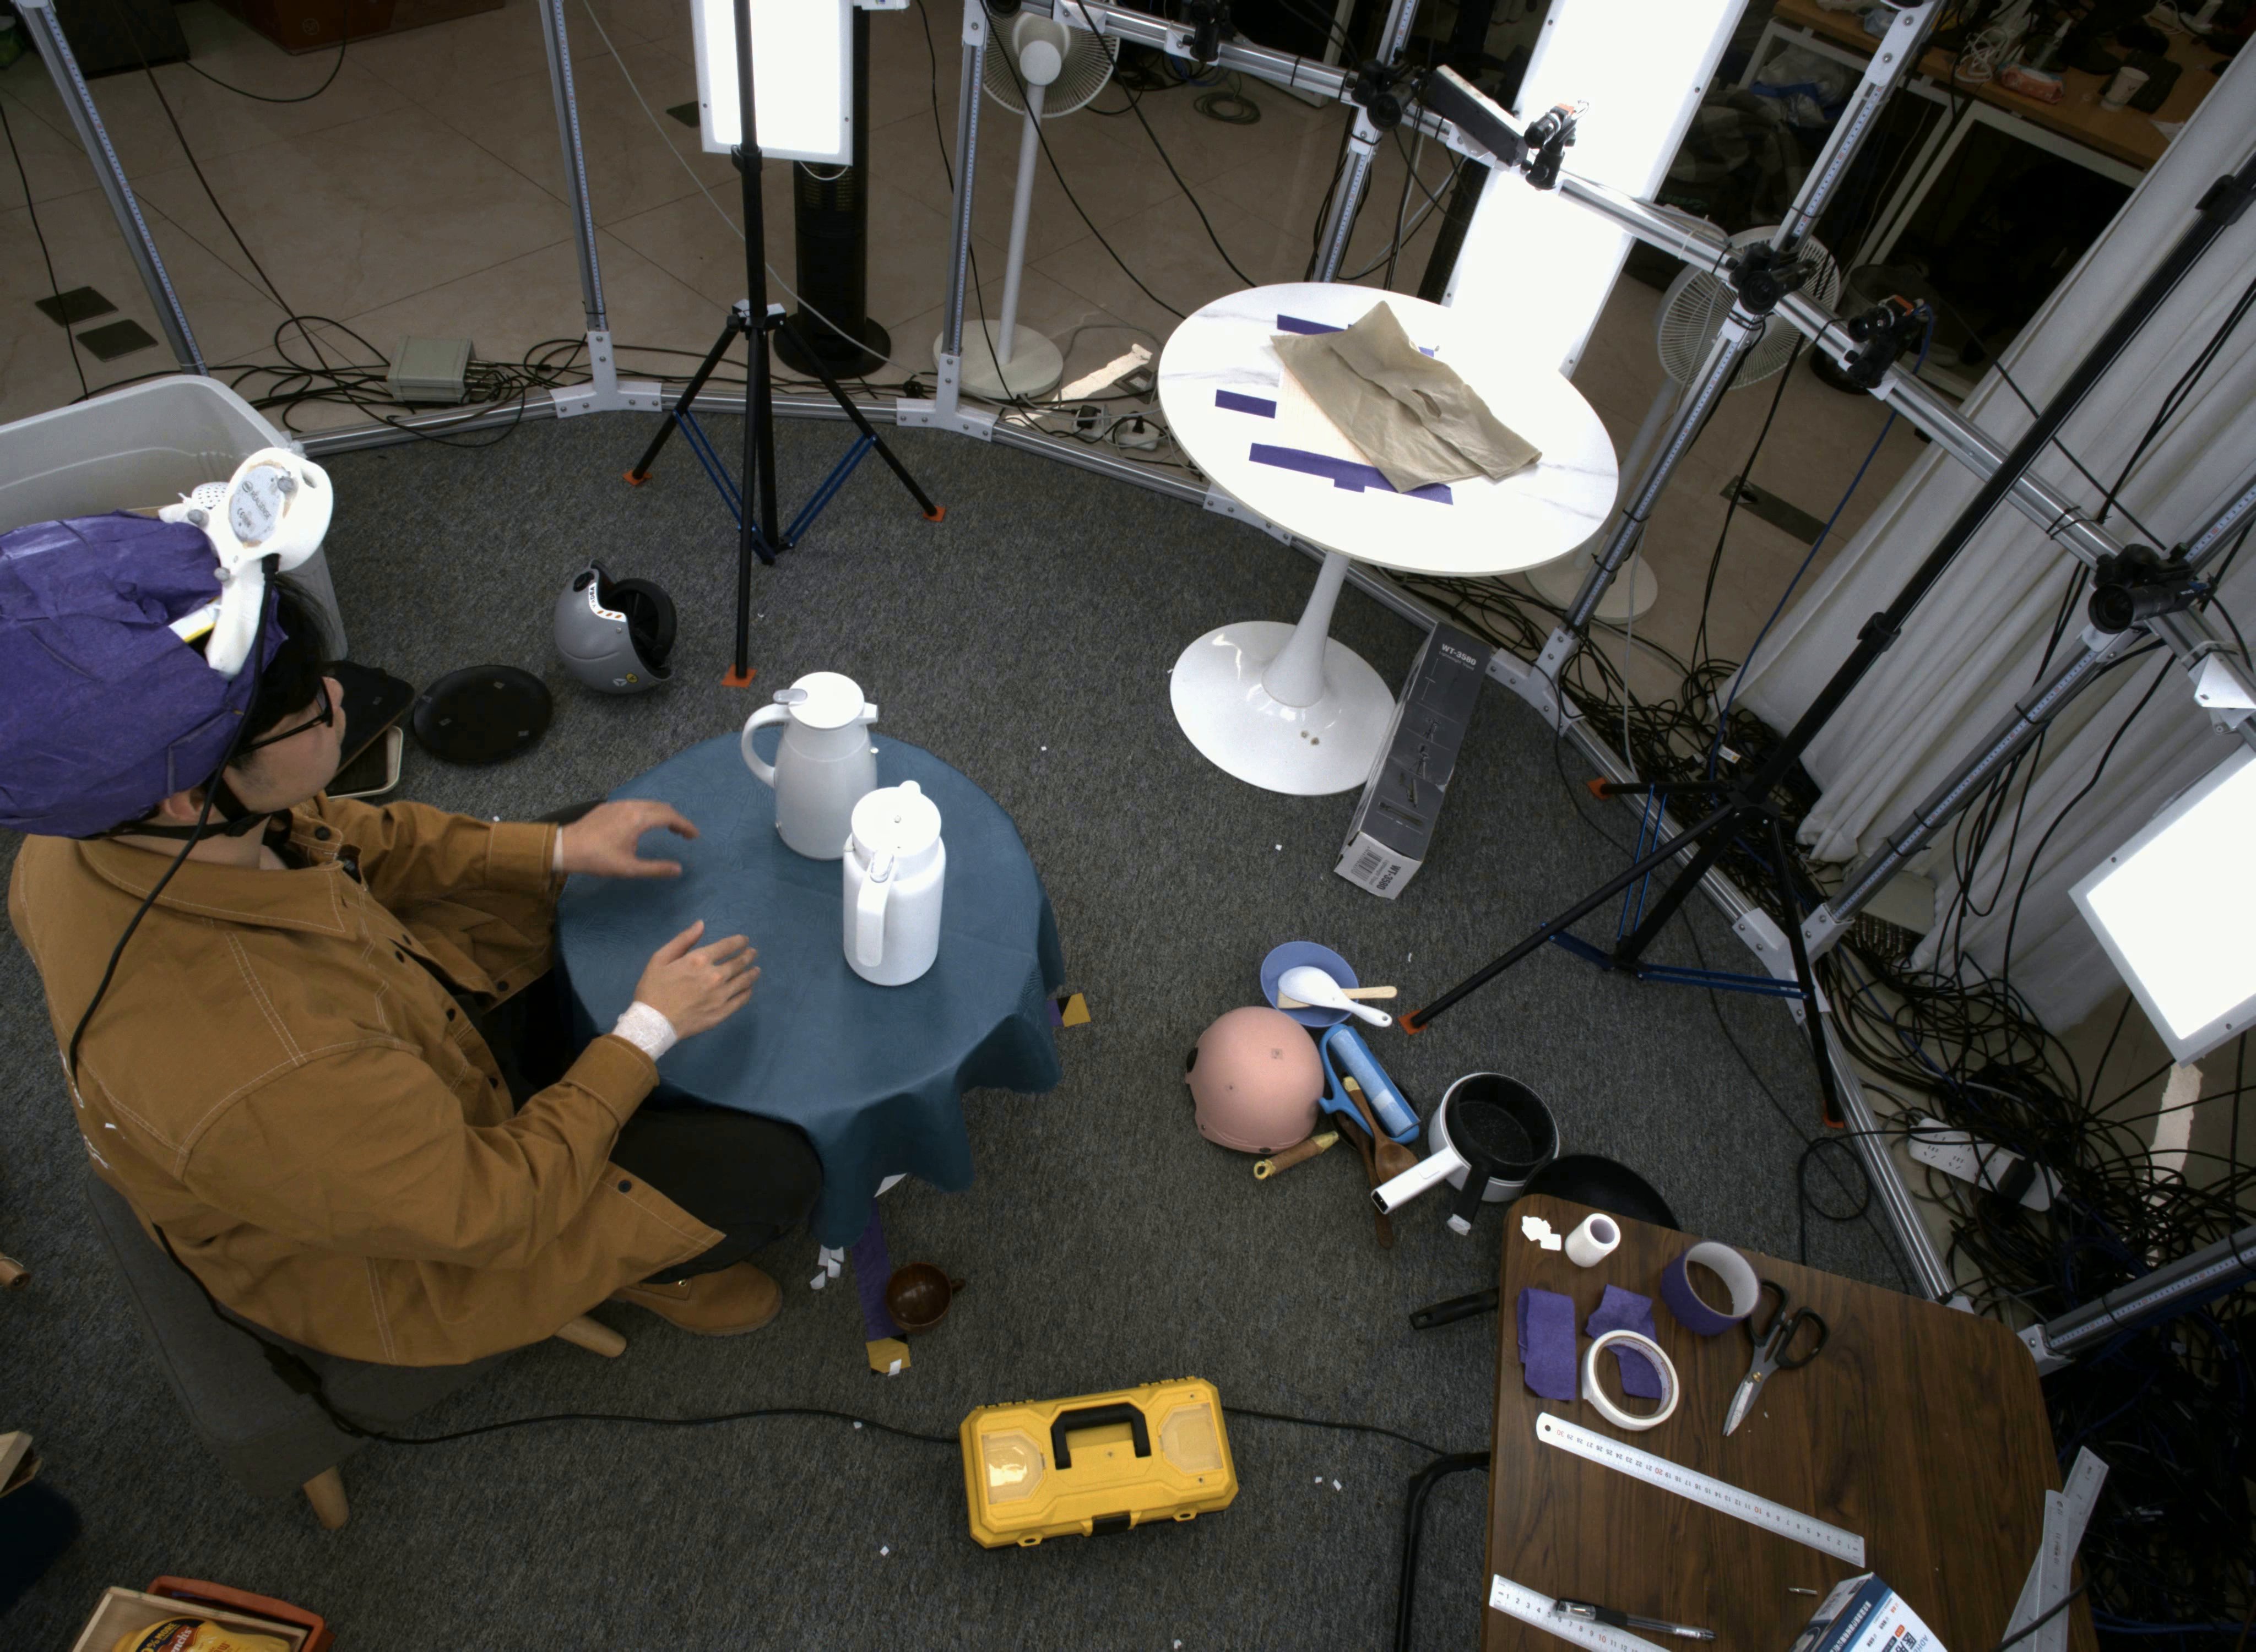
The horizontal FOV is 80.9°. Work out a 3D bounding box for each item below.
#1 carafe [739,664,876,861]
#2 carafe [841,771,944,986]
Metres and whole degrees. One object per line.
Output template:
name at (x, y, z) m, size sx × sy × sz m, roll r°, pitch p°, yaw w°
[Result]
carafe at (-0.402, -0.085, 1.630) m, size 0.167 × 0.254 × 0.130 m, roll 1°, pitch 52°, yaw -10°
carafe at (-0.280, 0.083, 1.524) m, size 0.123 × 0.274 × 0.170 m, roll 13°, pitch 51°, yaw -4°
